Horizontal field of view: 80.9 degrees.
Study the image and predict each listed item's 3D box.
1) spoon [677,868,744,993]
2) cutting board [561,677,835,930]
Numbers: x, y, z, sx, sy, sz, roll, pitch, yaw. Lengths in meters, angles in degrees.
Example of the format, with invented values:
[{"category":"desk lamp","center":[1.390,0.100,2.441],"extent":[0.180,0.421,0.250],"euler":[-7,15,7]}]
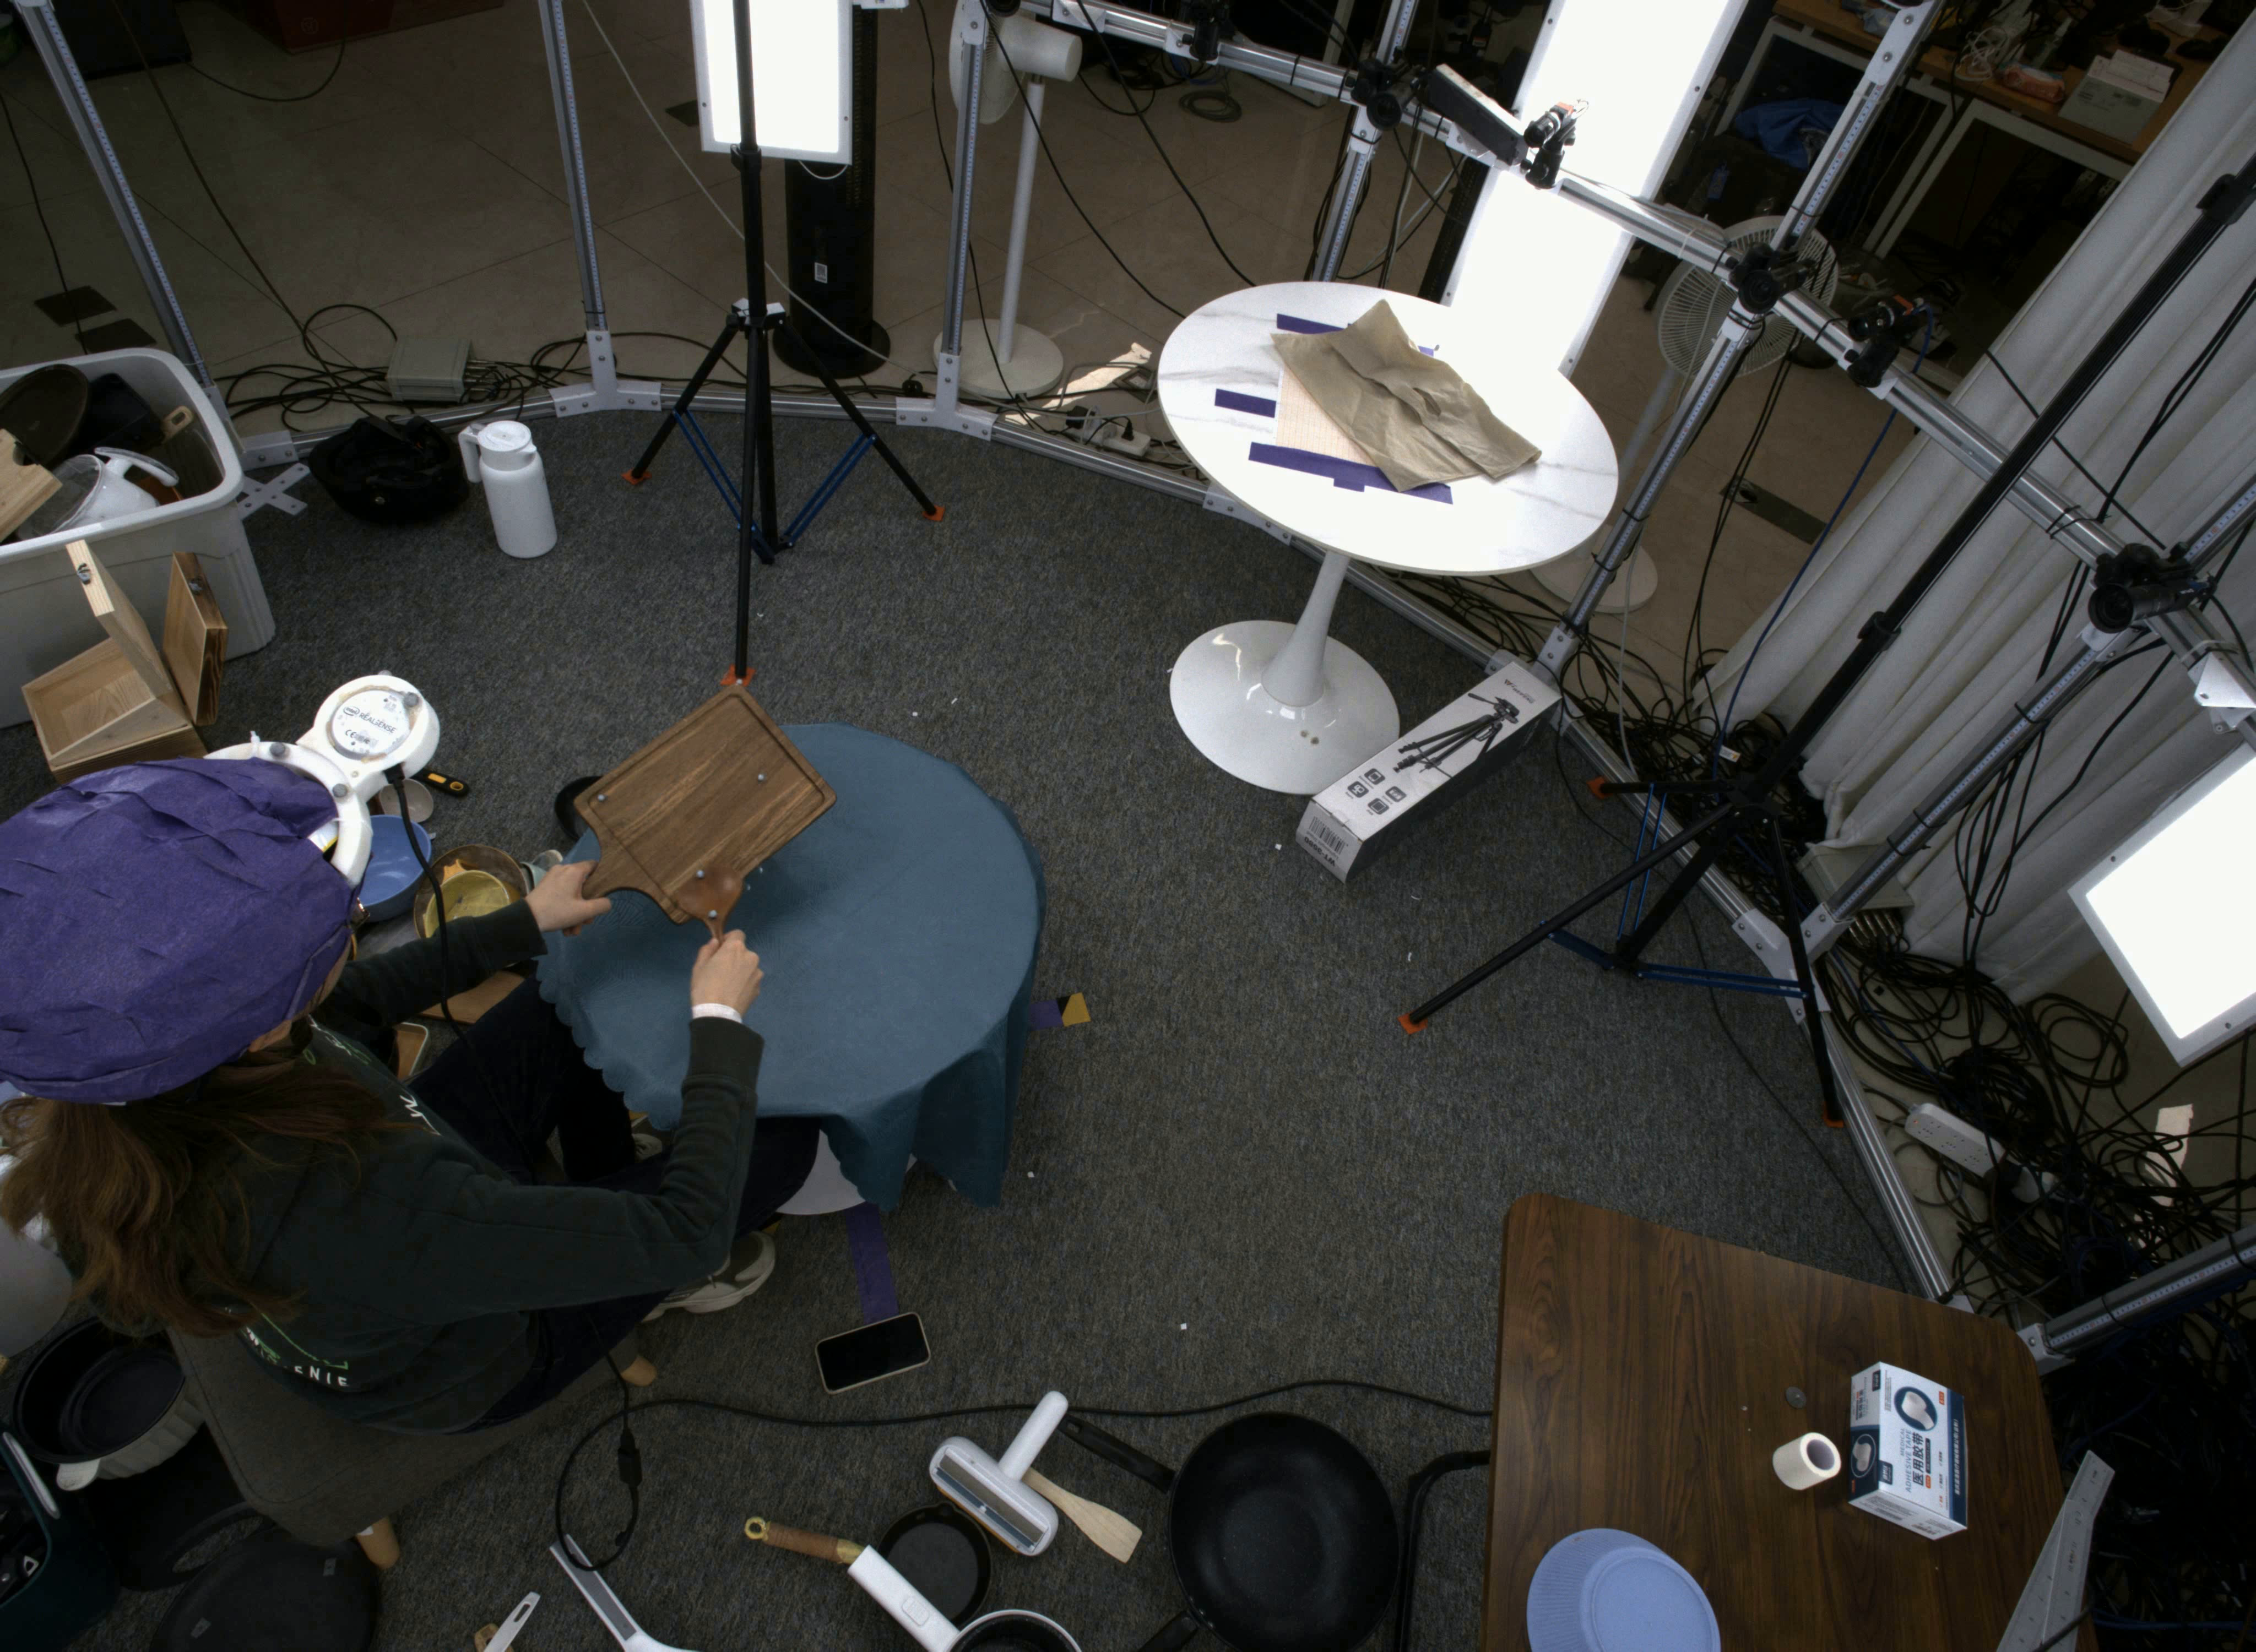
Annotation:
[{"category":"spoon","center":[-0.449,0.109,1.408],"extent":[0.075,0.018,0.208],"euler":[-16,37,-14]},{"category":"cutting board","center":[-0.544,-0.002,1.541],"extent":[0.352,0.023,0.203],"euler":[-43,98,-23]}]
